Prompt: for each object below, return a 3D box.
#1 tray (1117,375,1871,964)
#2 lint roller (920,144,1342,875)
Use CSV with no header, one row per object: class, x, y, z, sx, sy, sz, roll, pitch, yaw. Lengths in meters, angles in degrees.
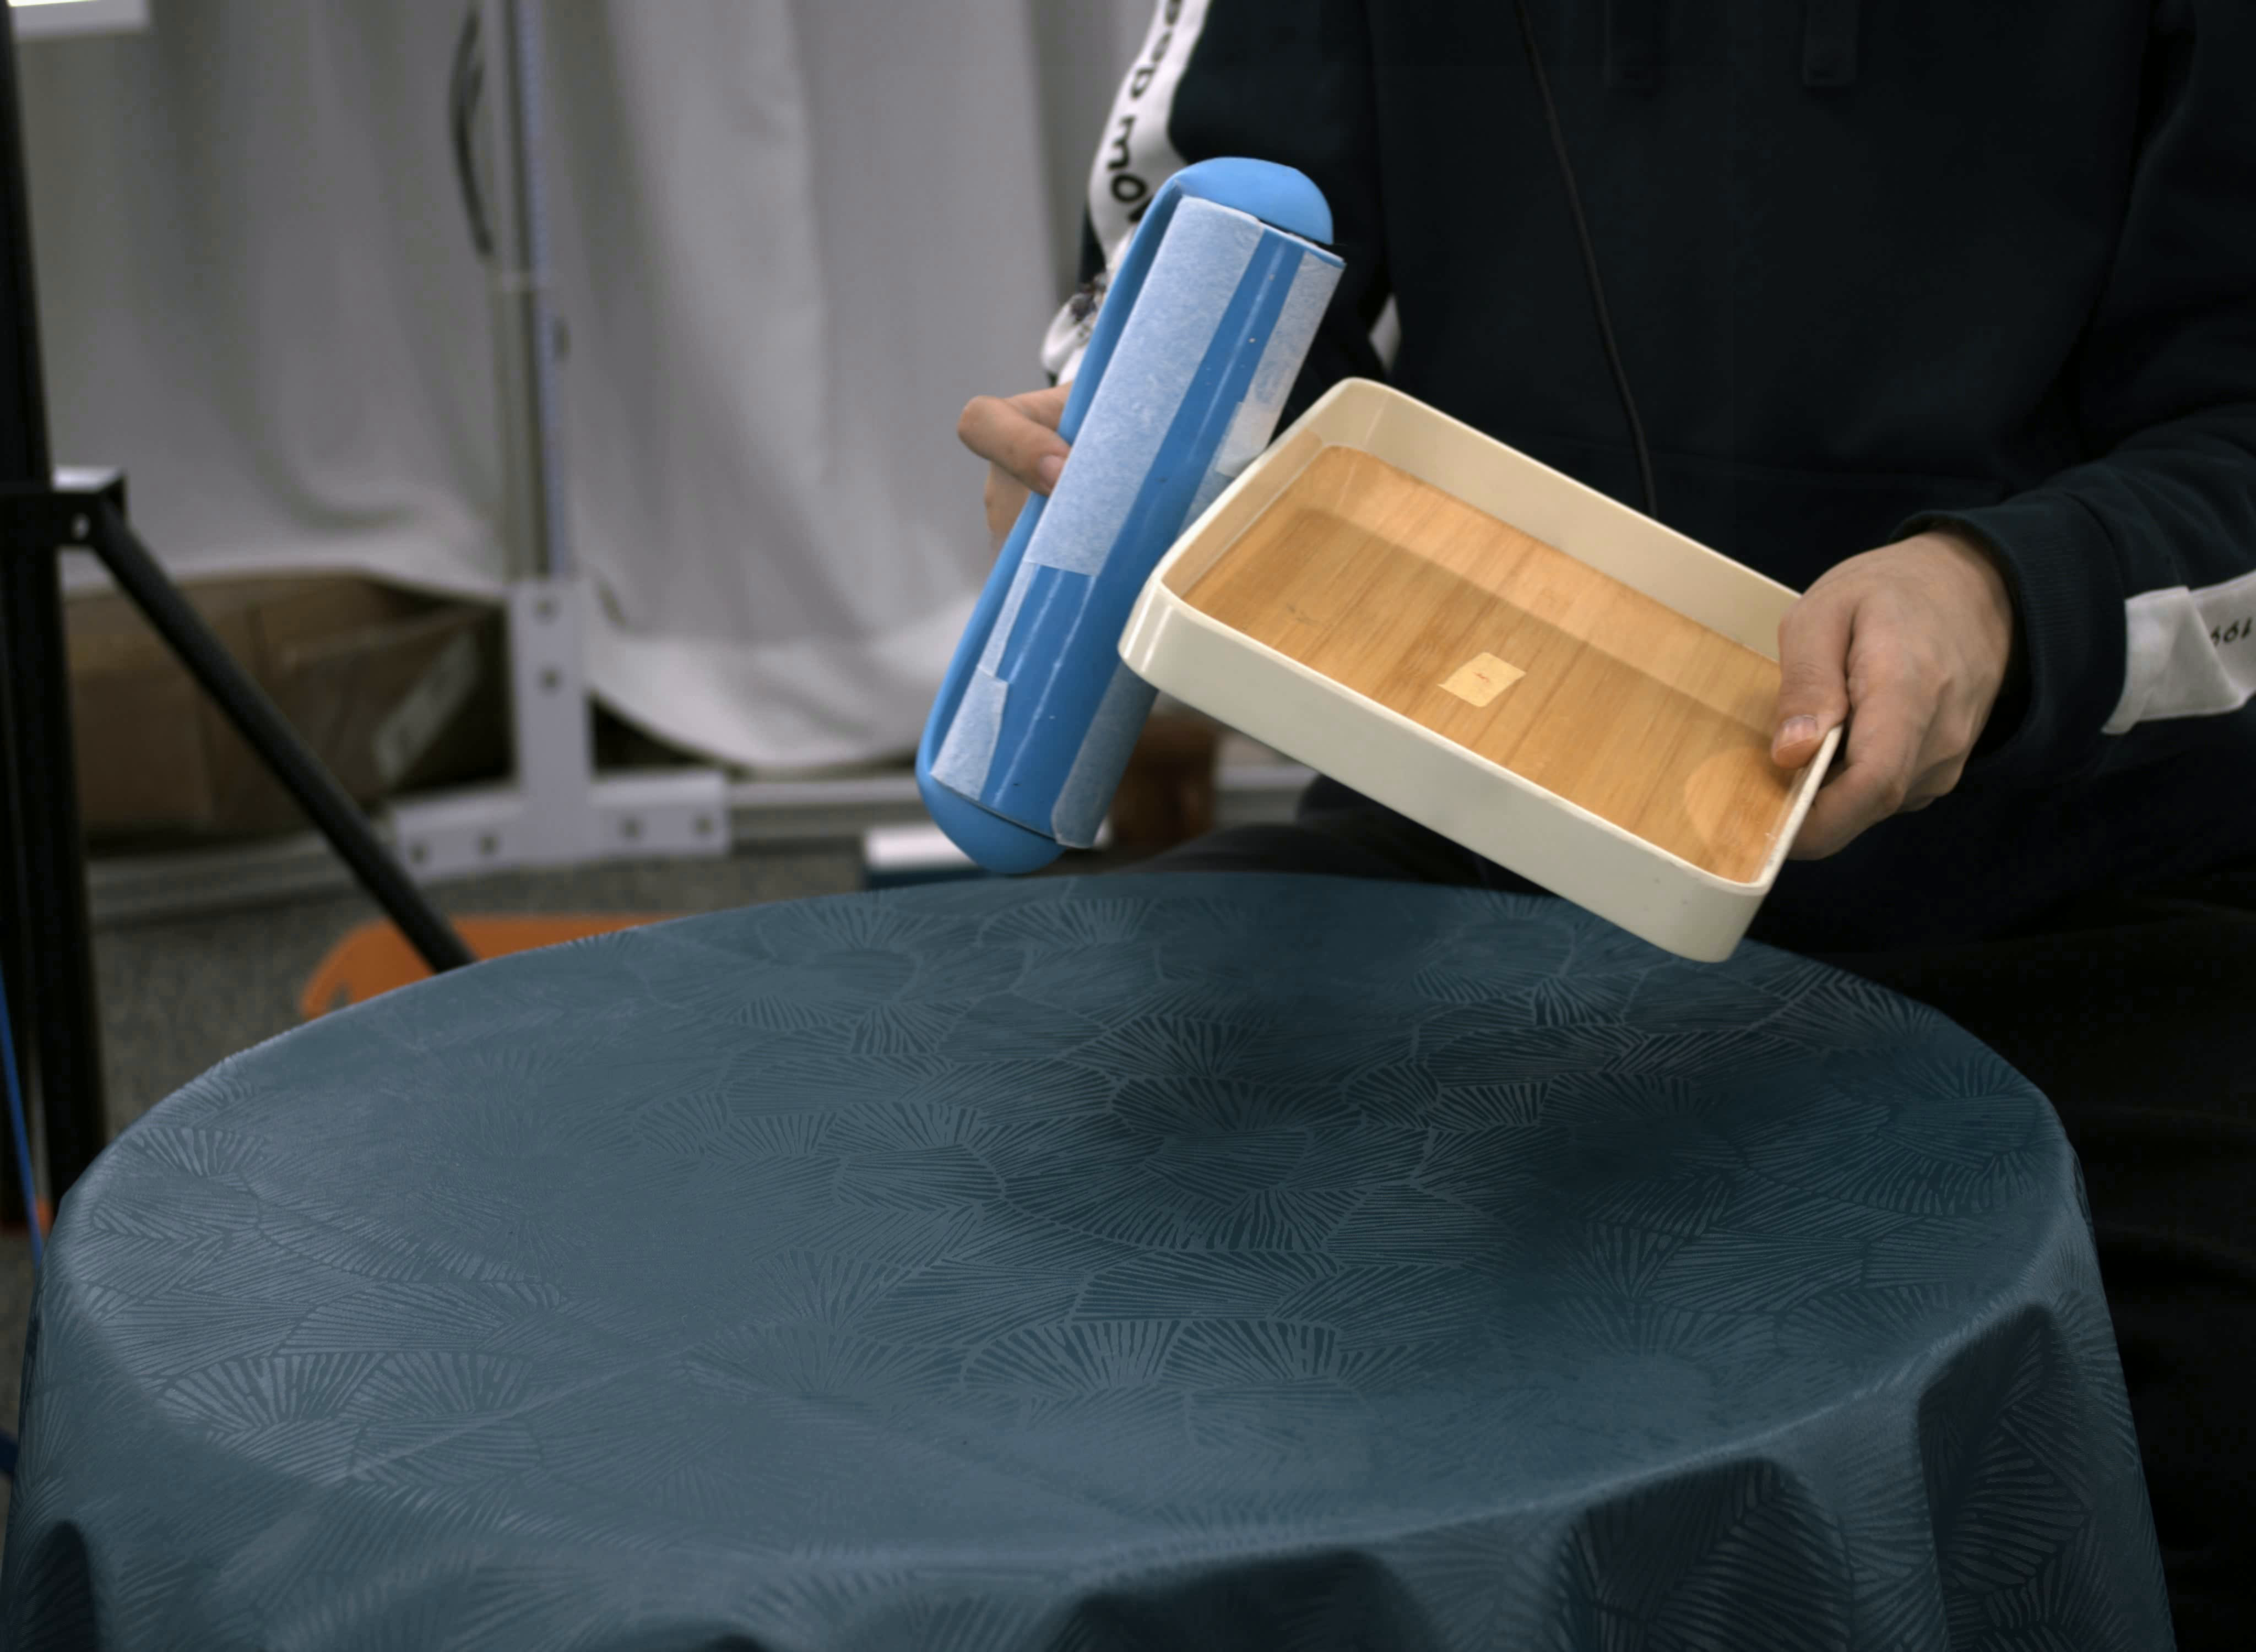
tray,0.115,-0.052,1.559,0.192,0.027,0.298,28,21,6
lint roller,0.001,-0.096,1.648,0.067,0.230,0.180,21,2,-2
